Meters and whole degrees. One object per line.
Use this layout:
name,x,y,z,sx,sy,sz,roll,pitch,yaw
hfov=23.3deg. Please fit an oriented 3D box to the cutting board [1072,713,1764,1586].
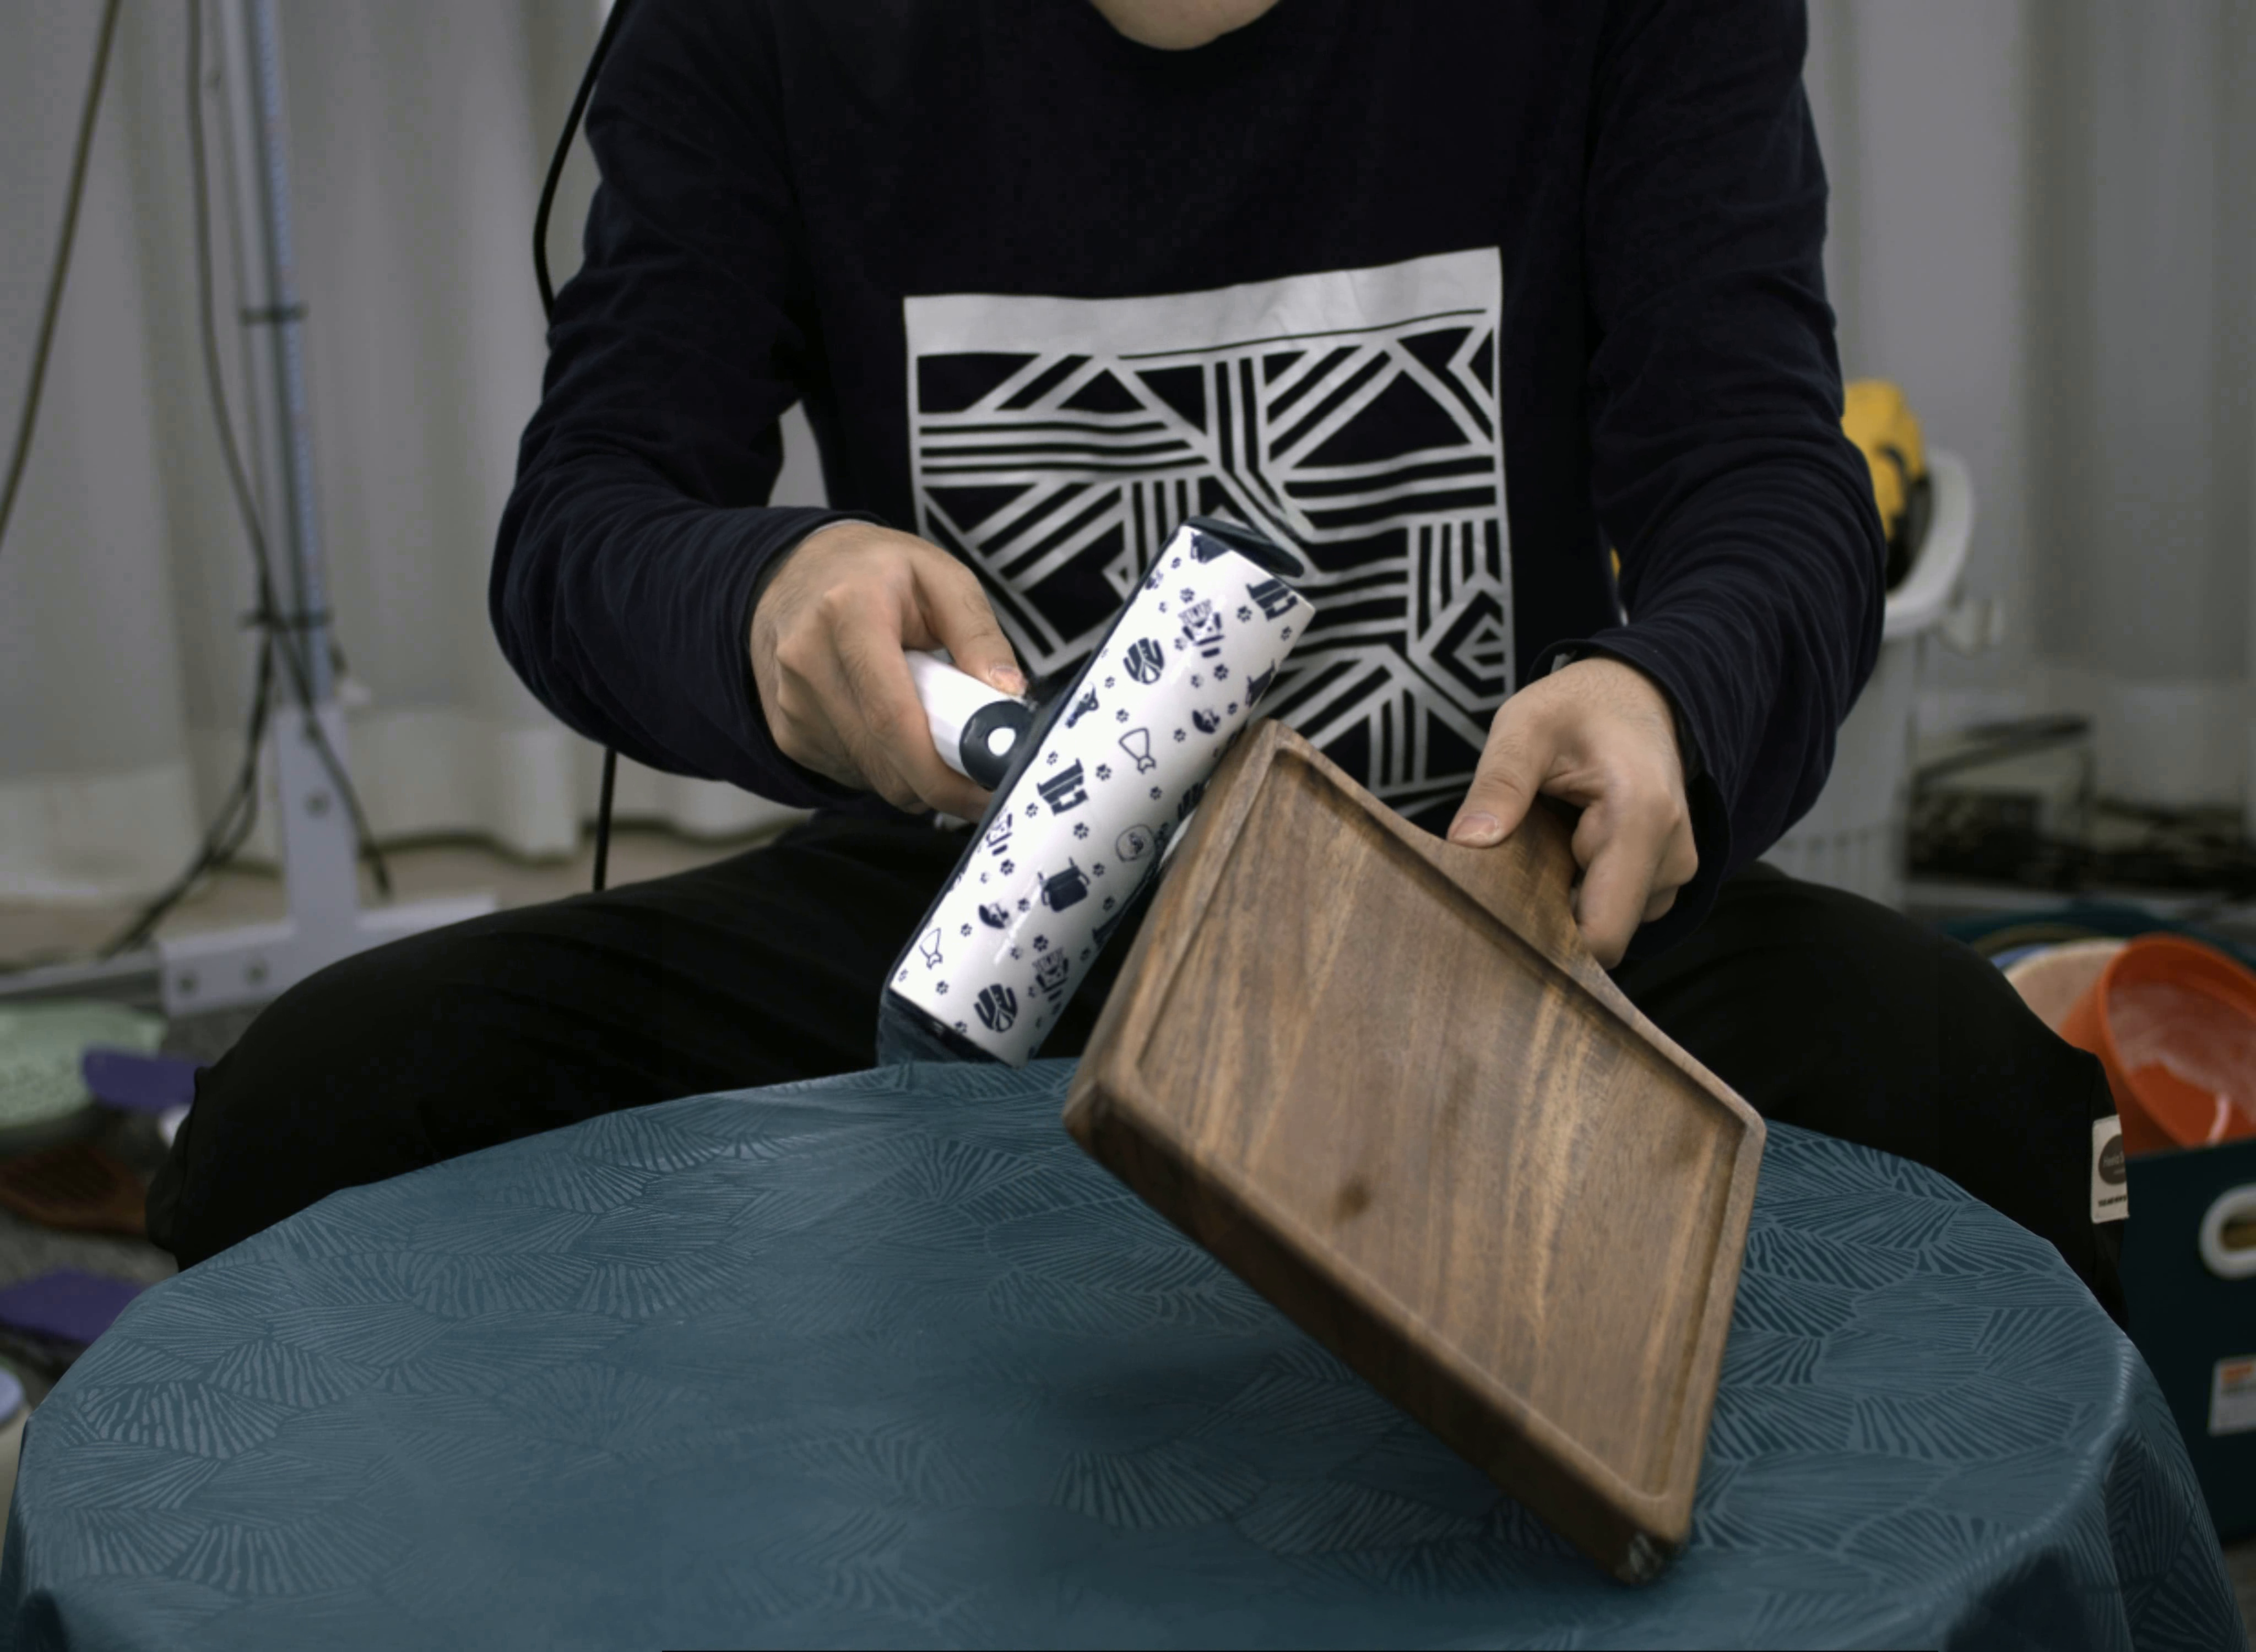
cutting board,0.095,0.061,1.533,0.200,0.023,0.355,38,25,-6

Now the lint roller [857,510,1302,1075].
lint roller,-0.045,-0.026,1.679,0.050,0.177,0.248,32,-3,-23
